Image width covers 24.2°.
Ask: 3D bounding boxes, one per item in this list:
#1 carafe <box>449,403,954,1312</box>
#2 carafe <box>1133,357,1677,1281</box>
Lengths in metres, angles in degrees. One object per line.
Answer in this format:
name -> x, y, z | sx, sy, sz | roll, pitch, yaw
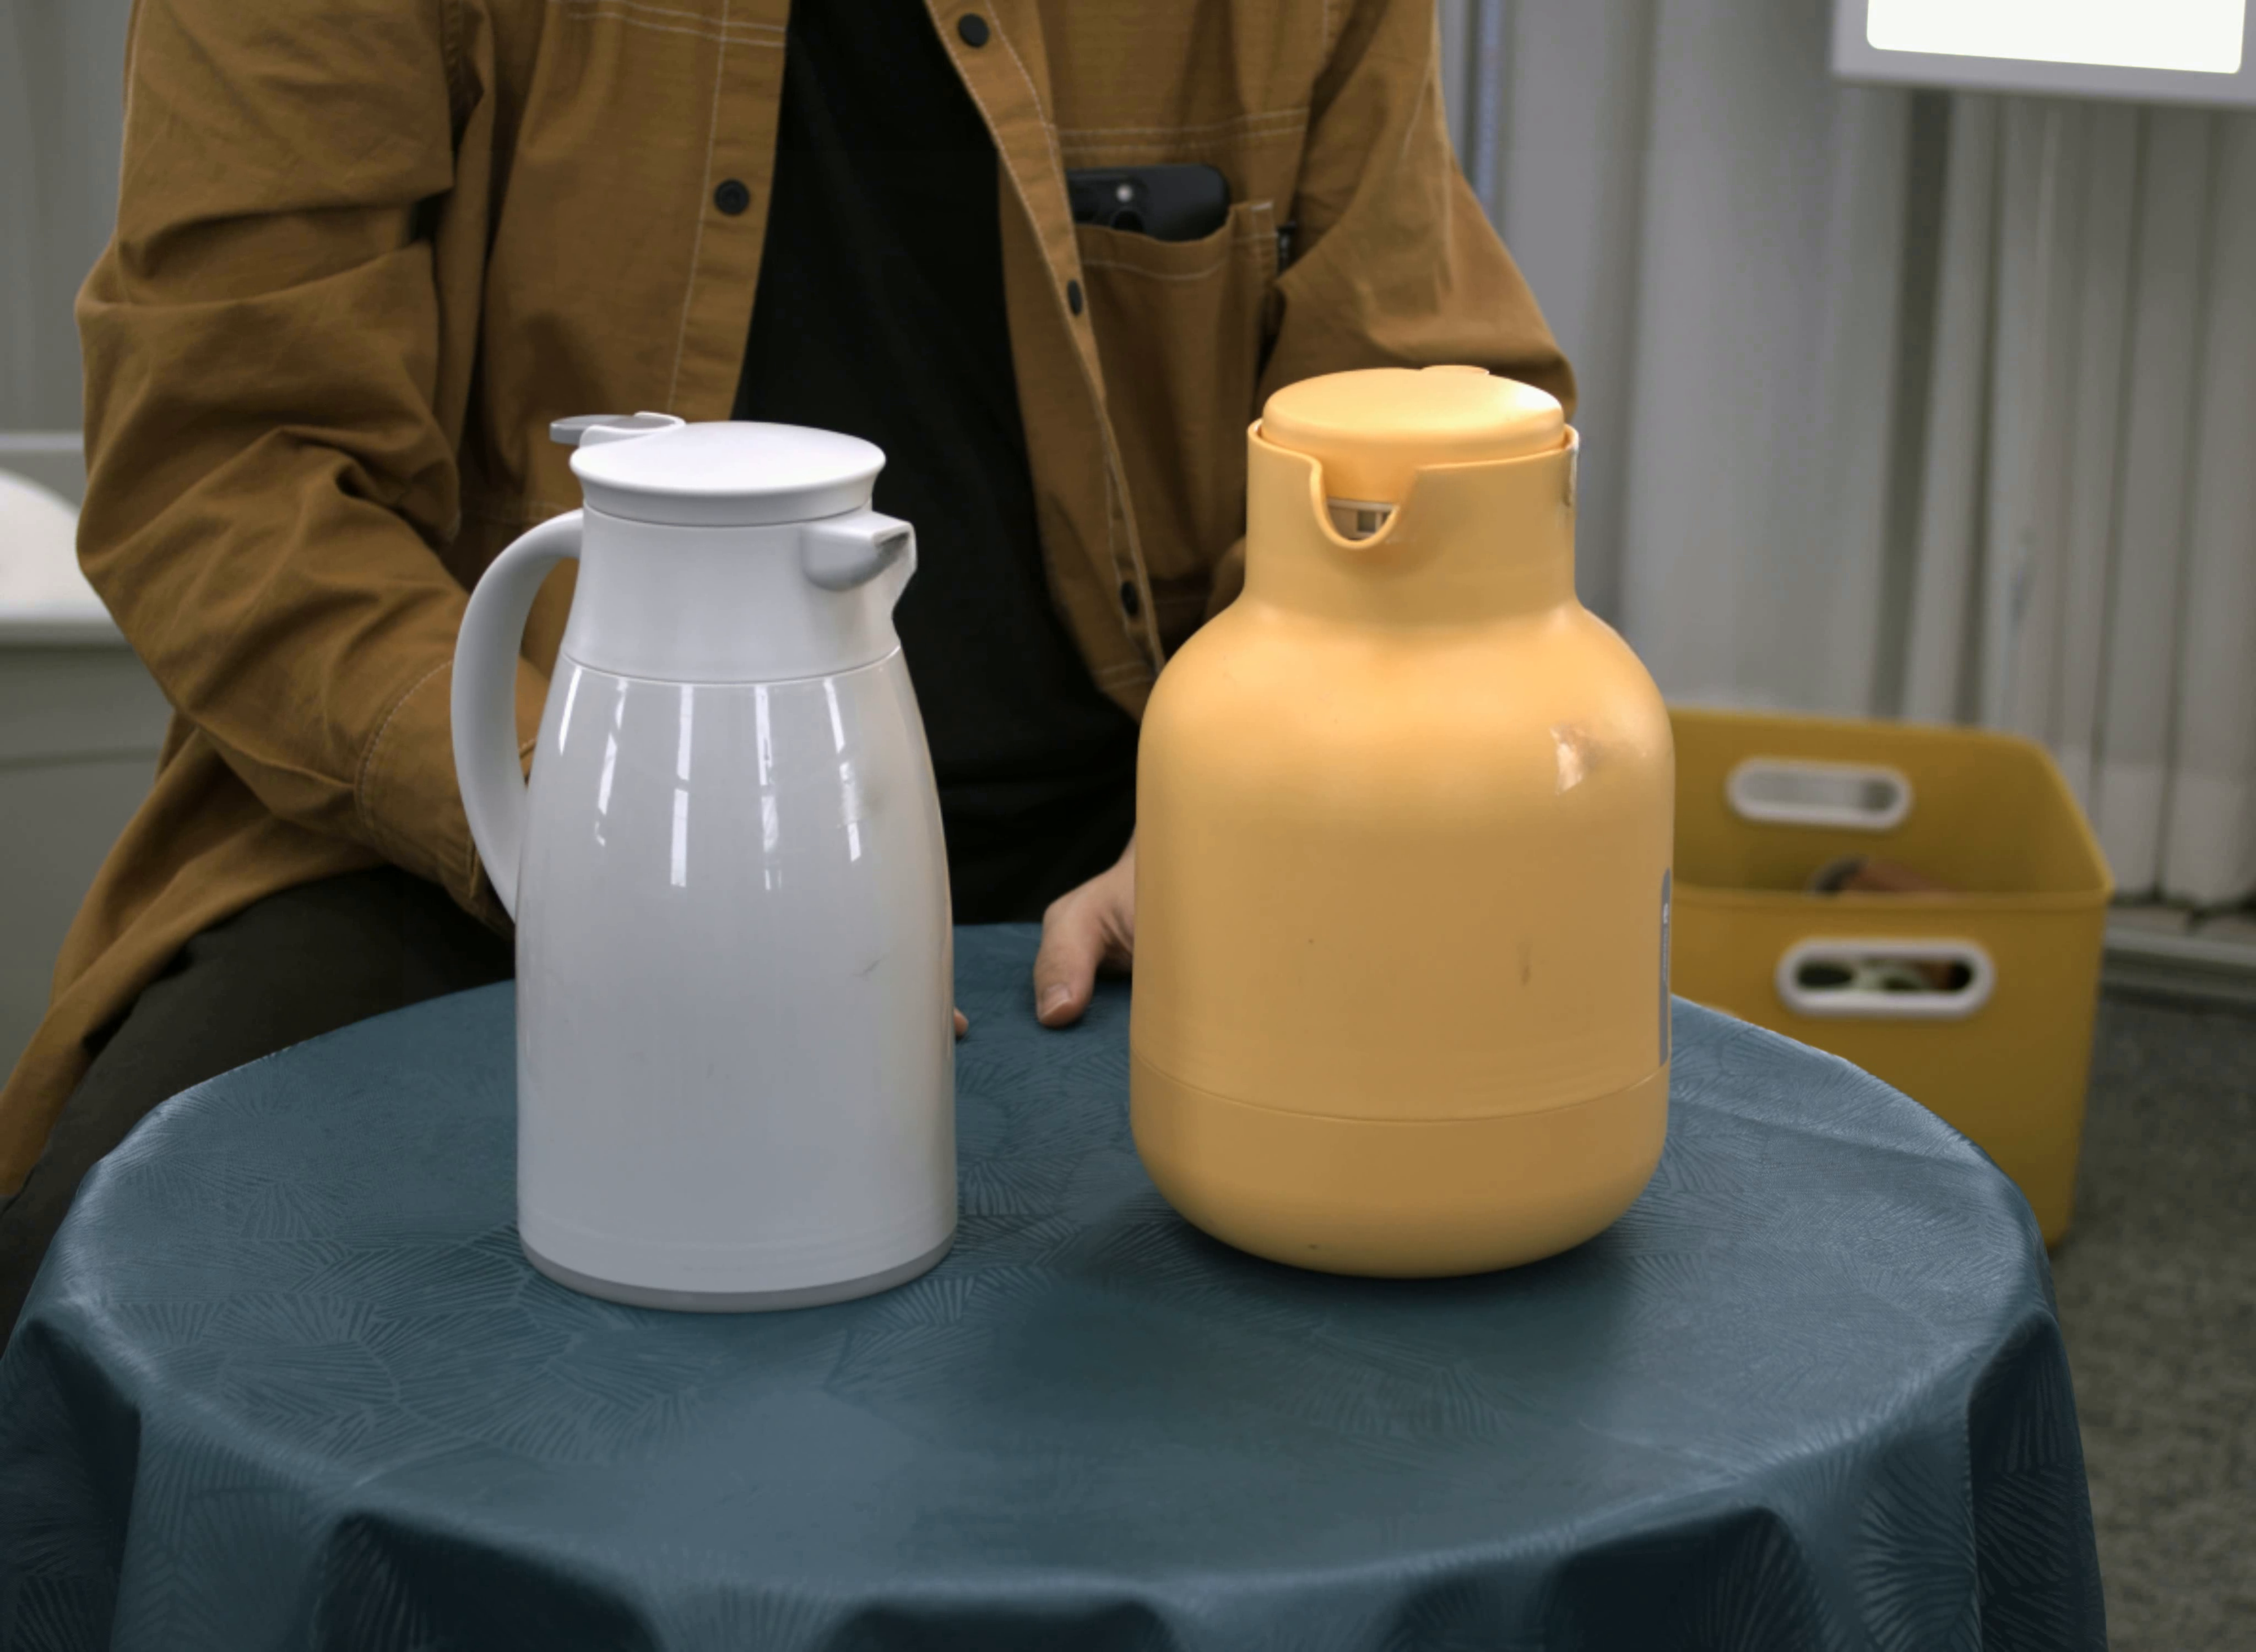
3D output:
carafe -> -0.133, 0.001, 1.553 | 0.165, 0.250, 0.133 | 11, 19, 33
carafe -> 0.090, -0.010, 1.581 | 0.162, 0.262, 0.202 | 7, 18, 17
